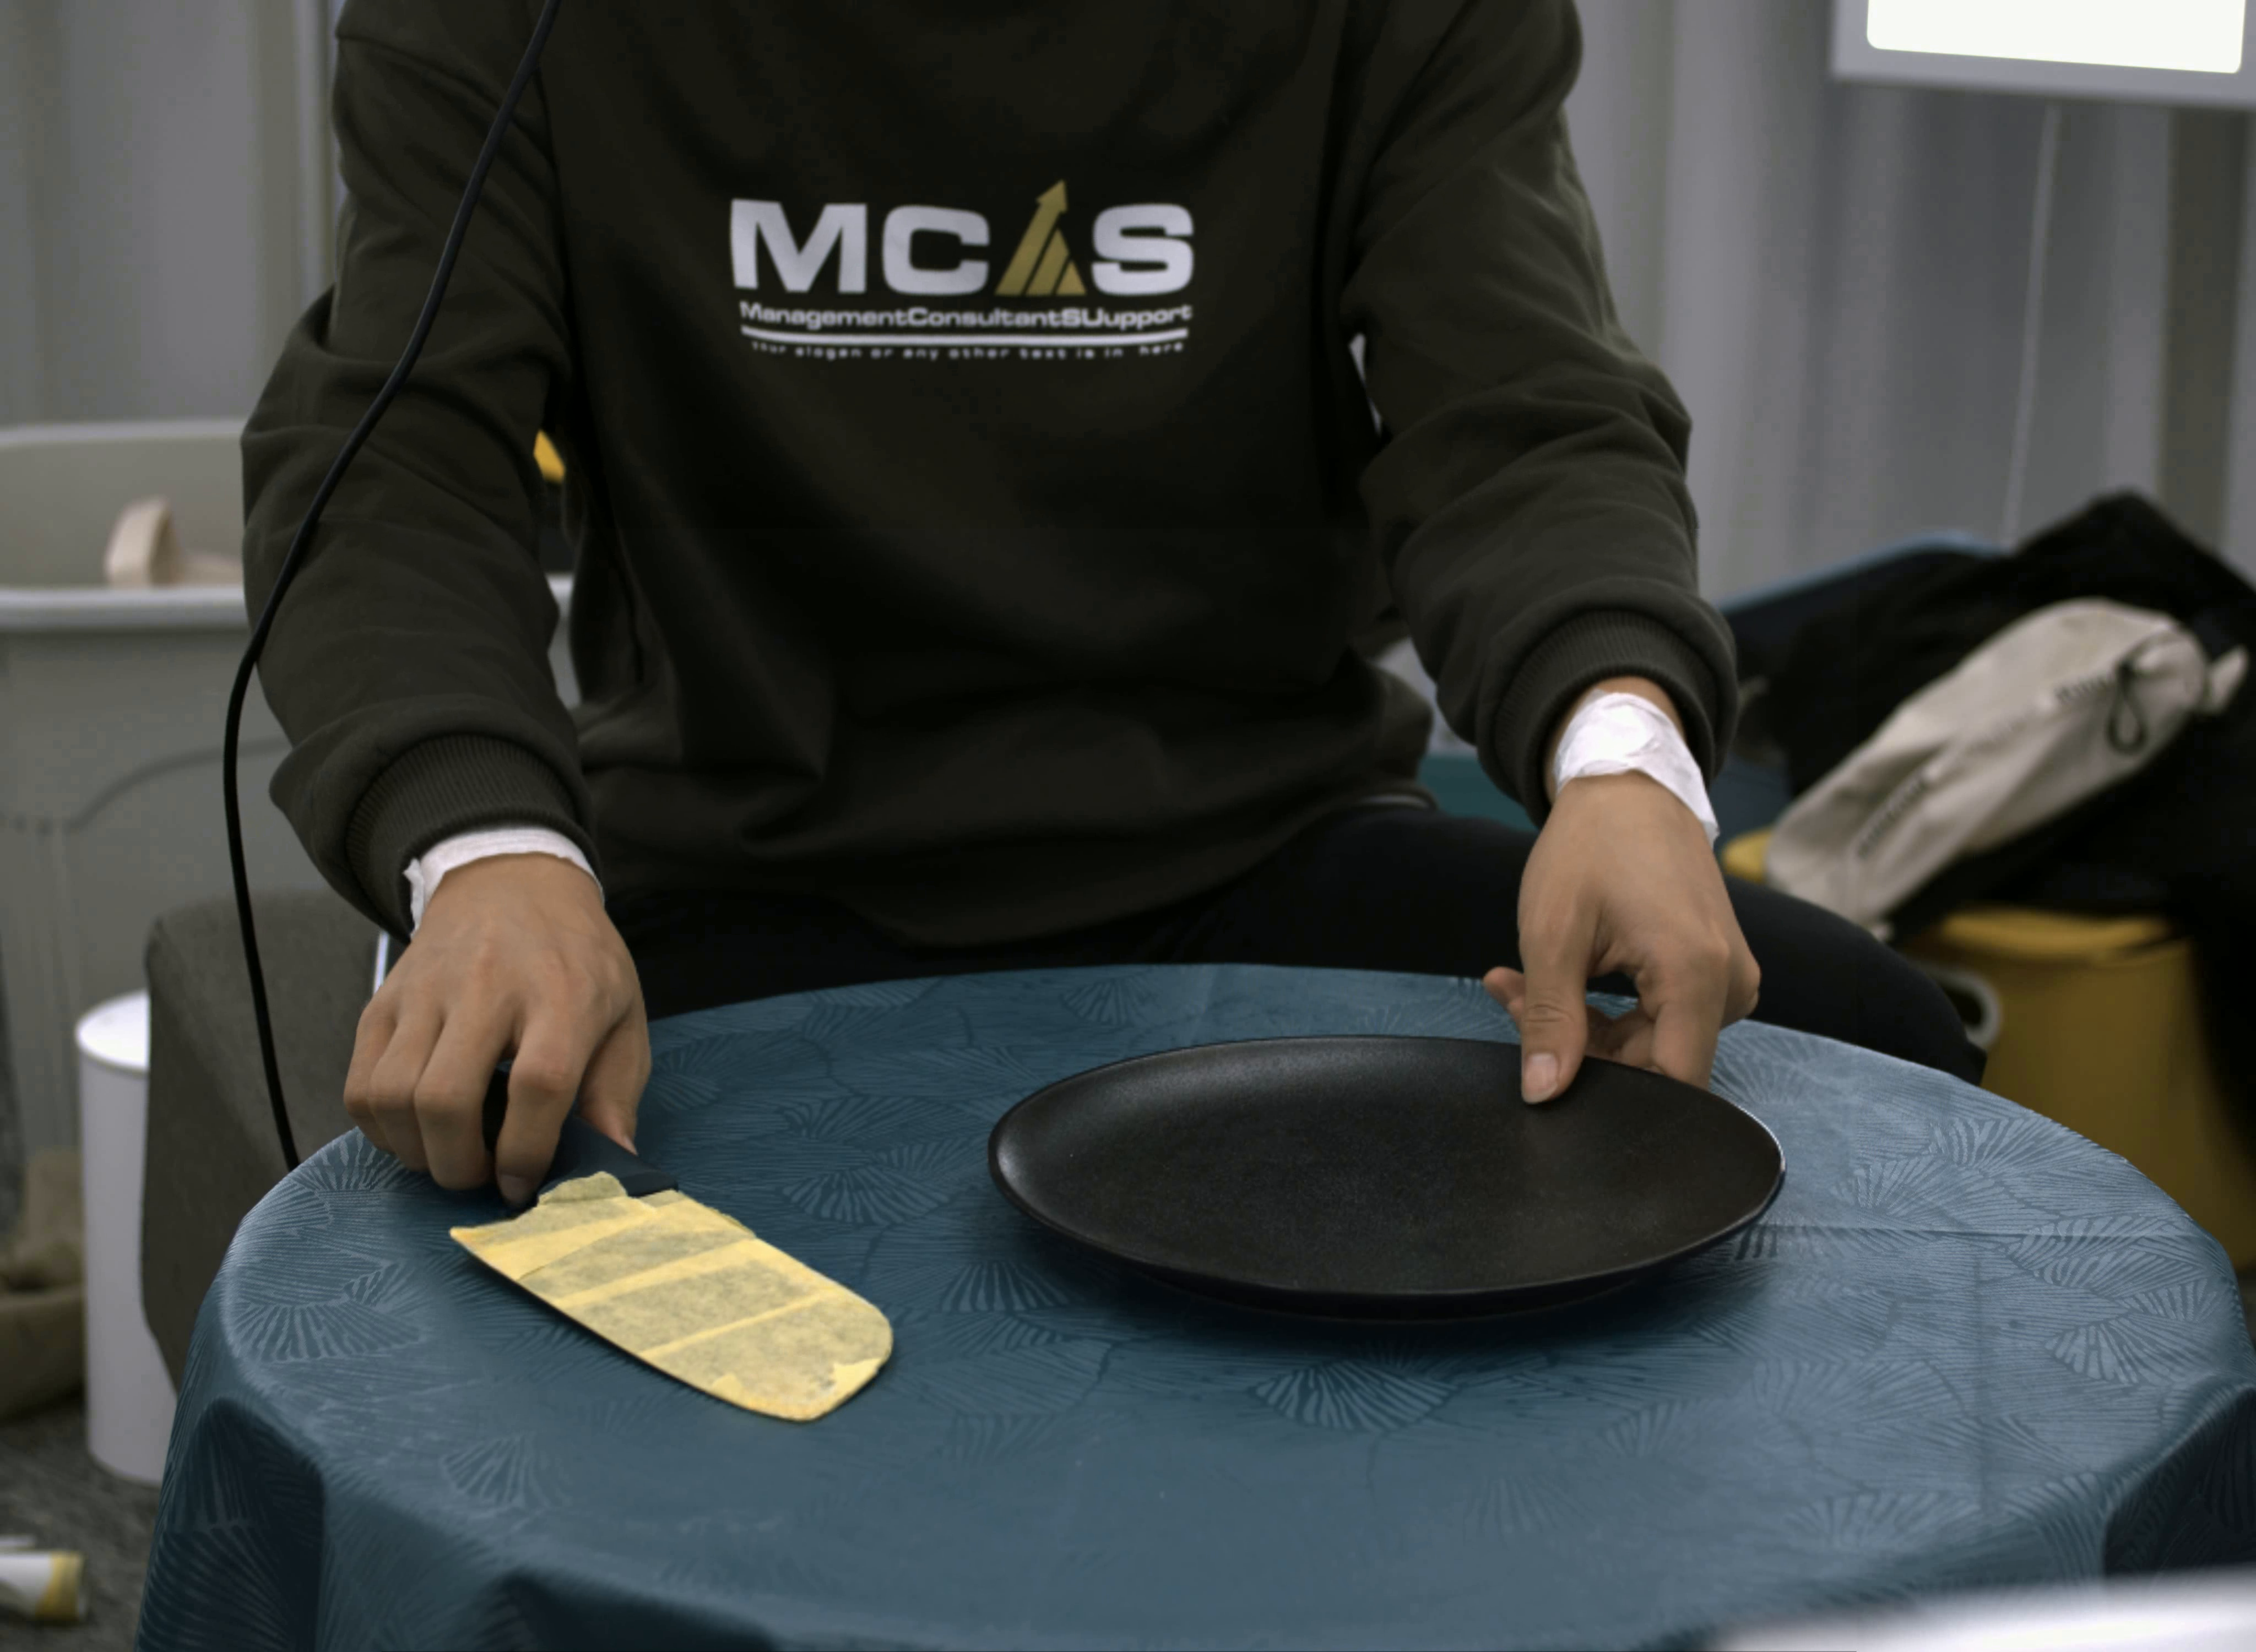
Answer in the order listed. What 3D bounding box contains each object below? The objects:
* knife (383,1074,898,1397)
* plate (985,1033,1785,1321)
[{"bbox_3d":[-0.157,0.122,1.558,0.081,0.027,0.285,-9,19,-33],"label":"knife"},{"bbox_3d":[0.077,0.108,1.598,0.243,0.023,0.243,1,15,0],"label":"plate"}]
